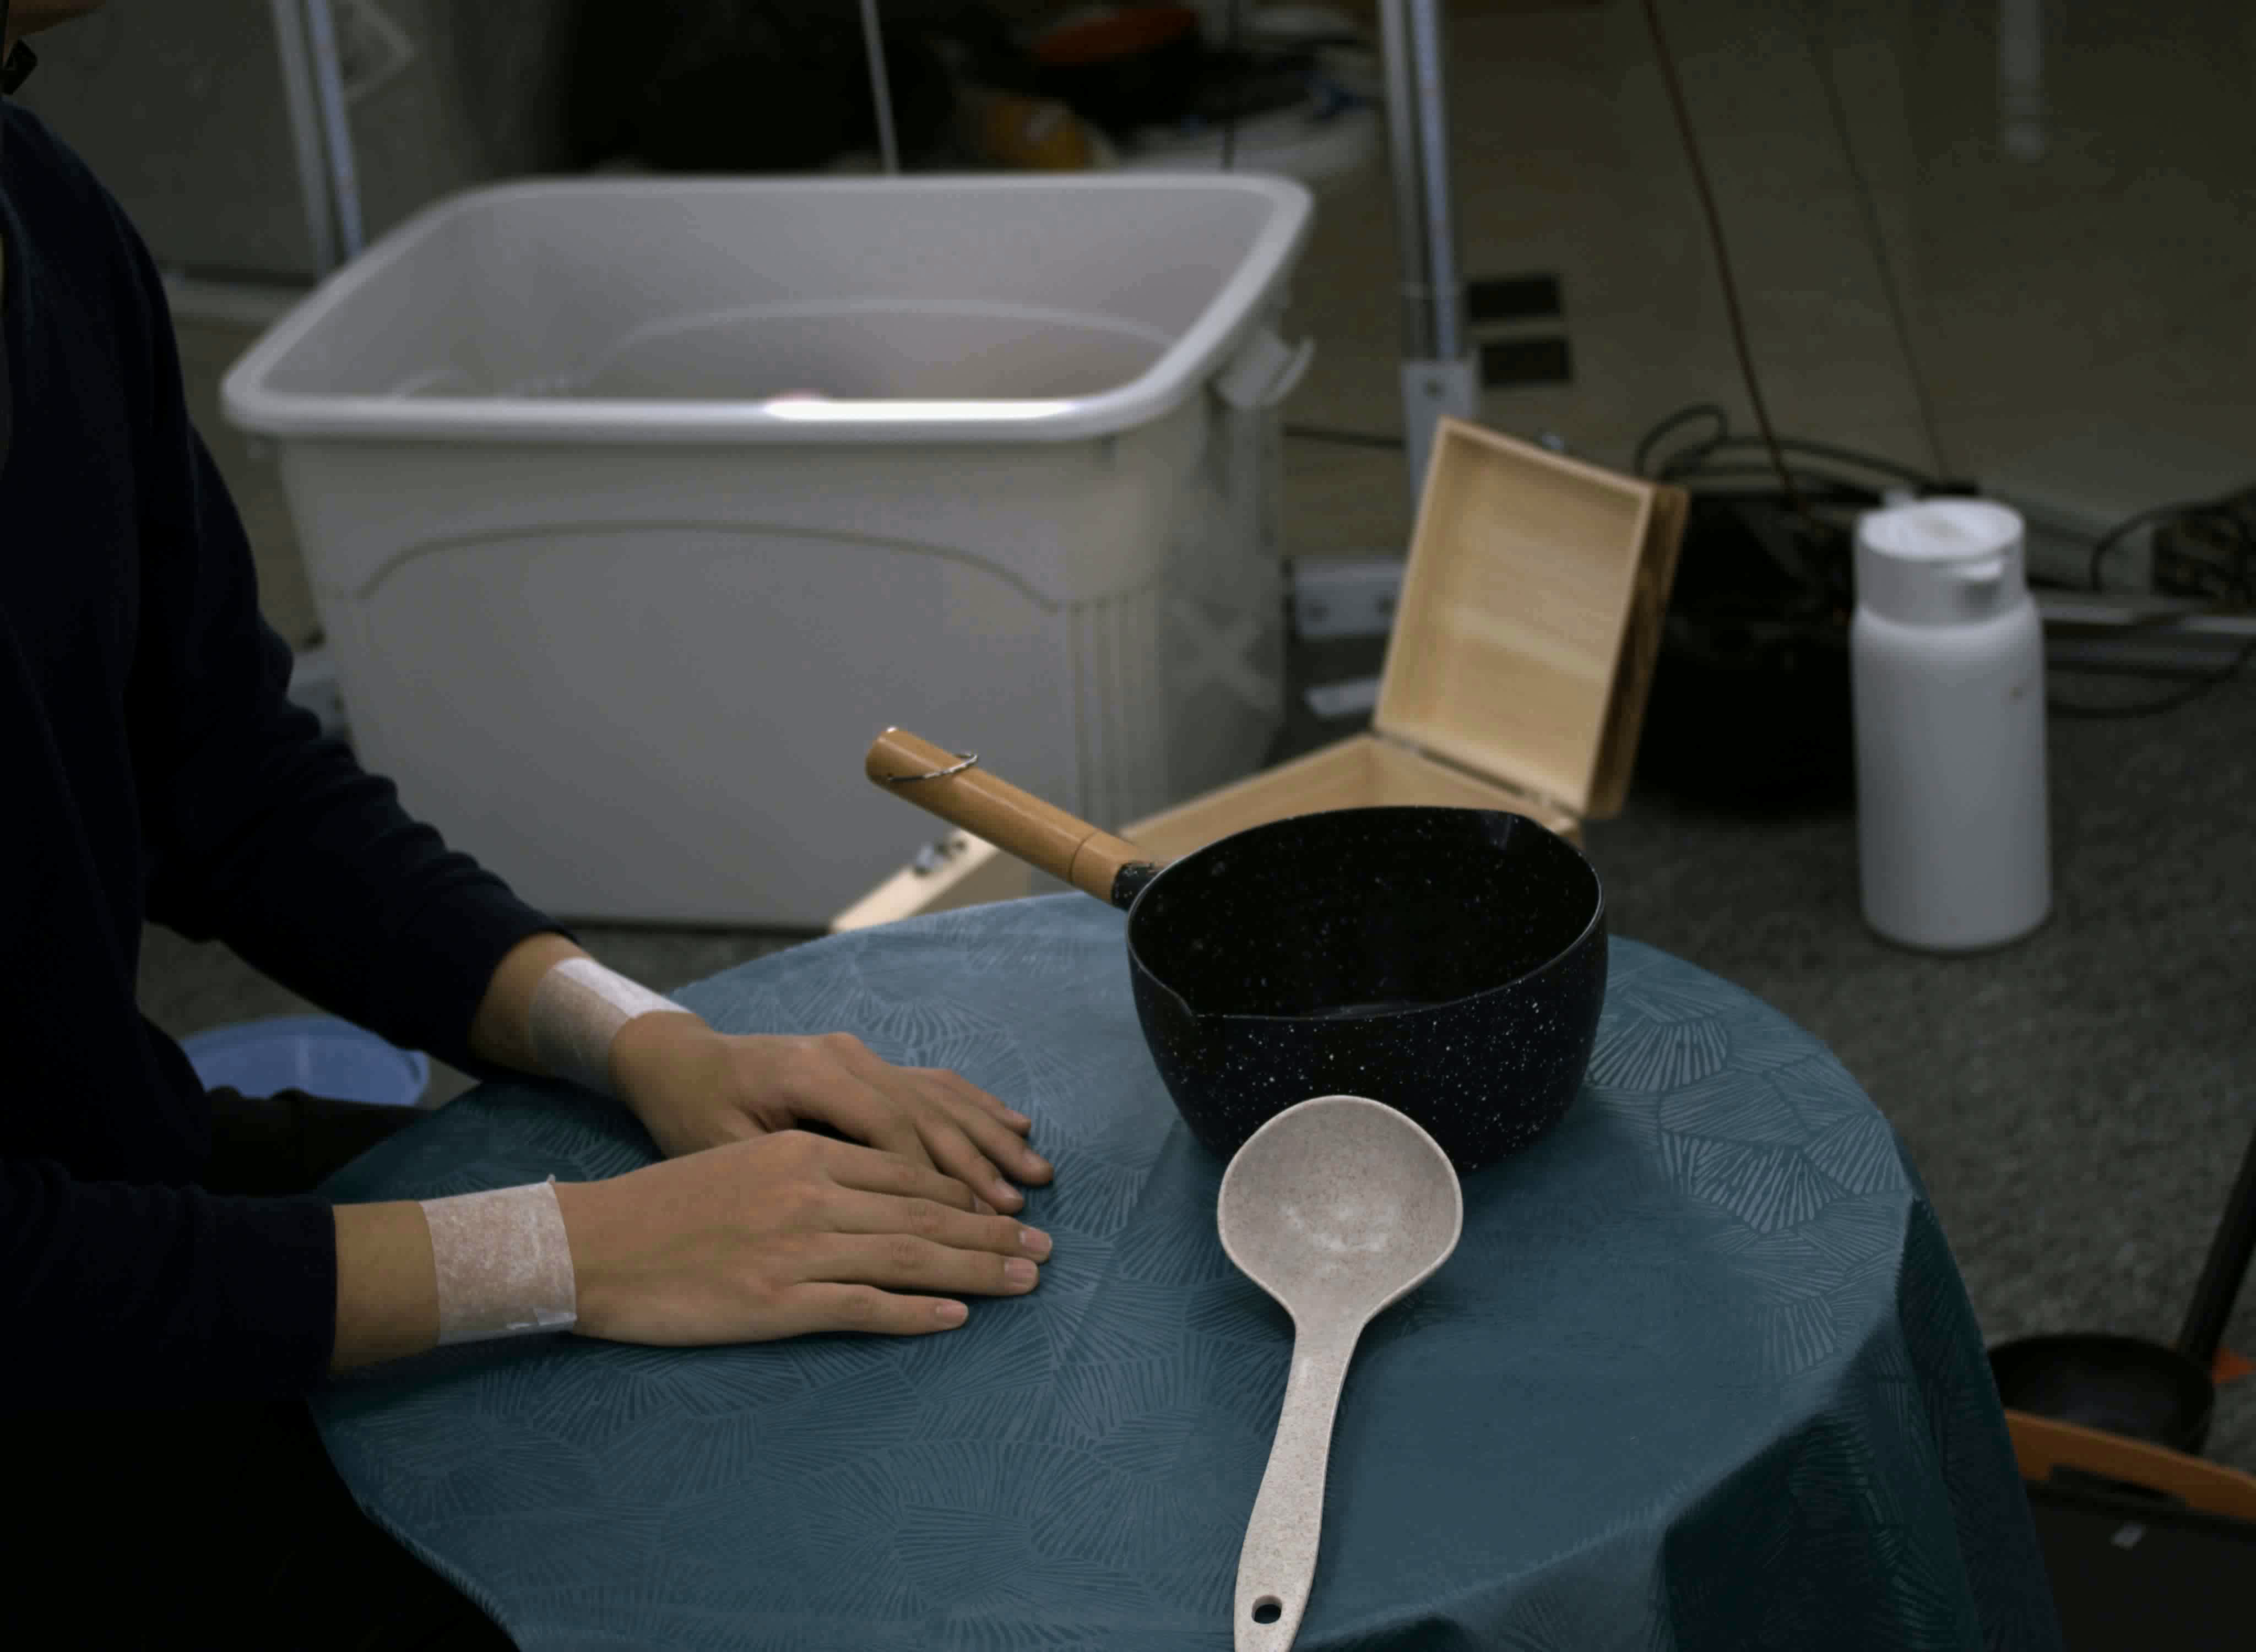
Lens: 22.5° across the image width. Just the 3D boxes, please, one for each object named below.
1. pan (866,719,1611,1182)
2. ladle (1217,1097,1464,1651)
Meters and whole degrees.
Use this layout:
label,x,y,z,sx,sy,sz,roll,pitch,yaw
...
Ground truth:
label,x,y,z,sx,sy,sz,roll,pitch,yaw
pan,0.032,0.043,2.215,0.340,0.110,0.205,15,34,36
ladle,0.062,0.187,1.952,0.089,0.070,0.271,5,27,6
